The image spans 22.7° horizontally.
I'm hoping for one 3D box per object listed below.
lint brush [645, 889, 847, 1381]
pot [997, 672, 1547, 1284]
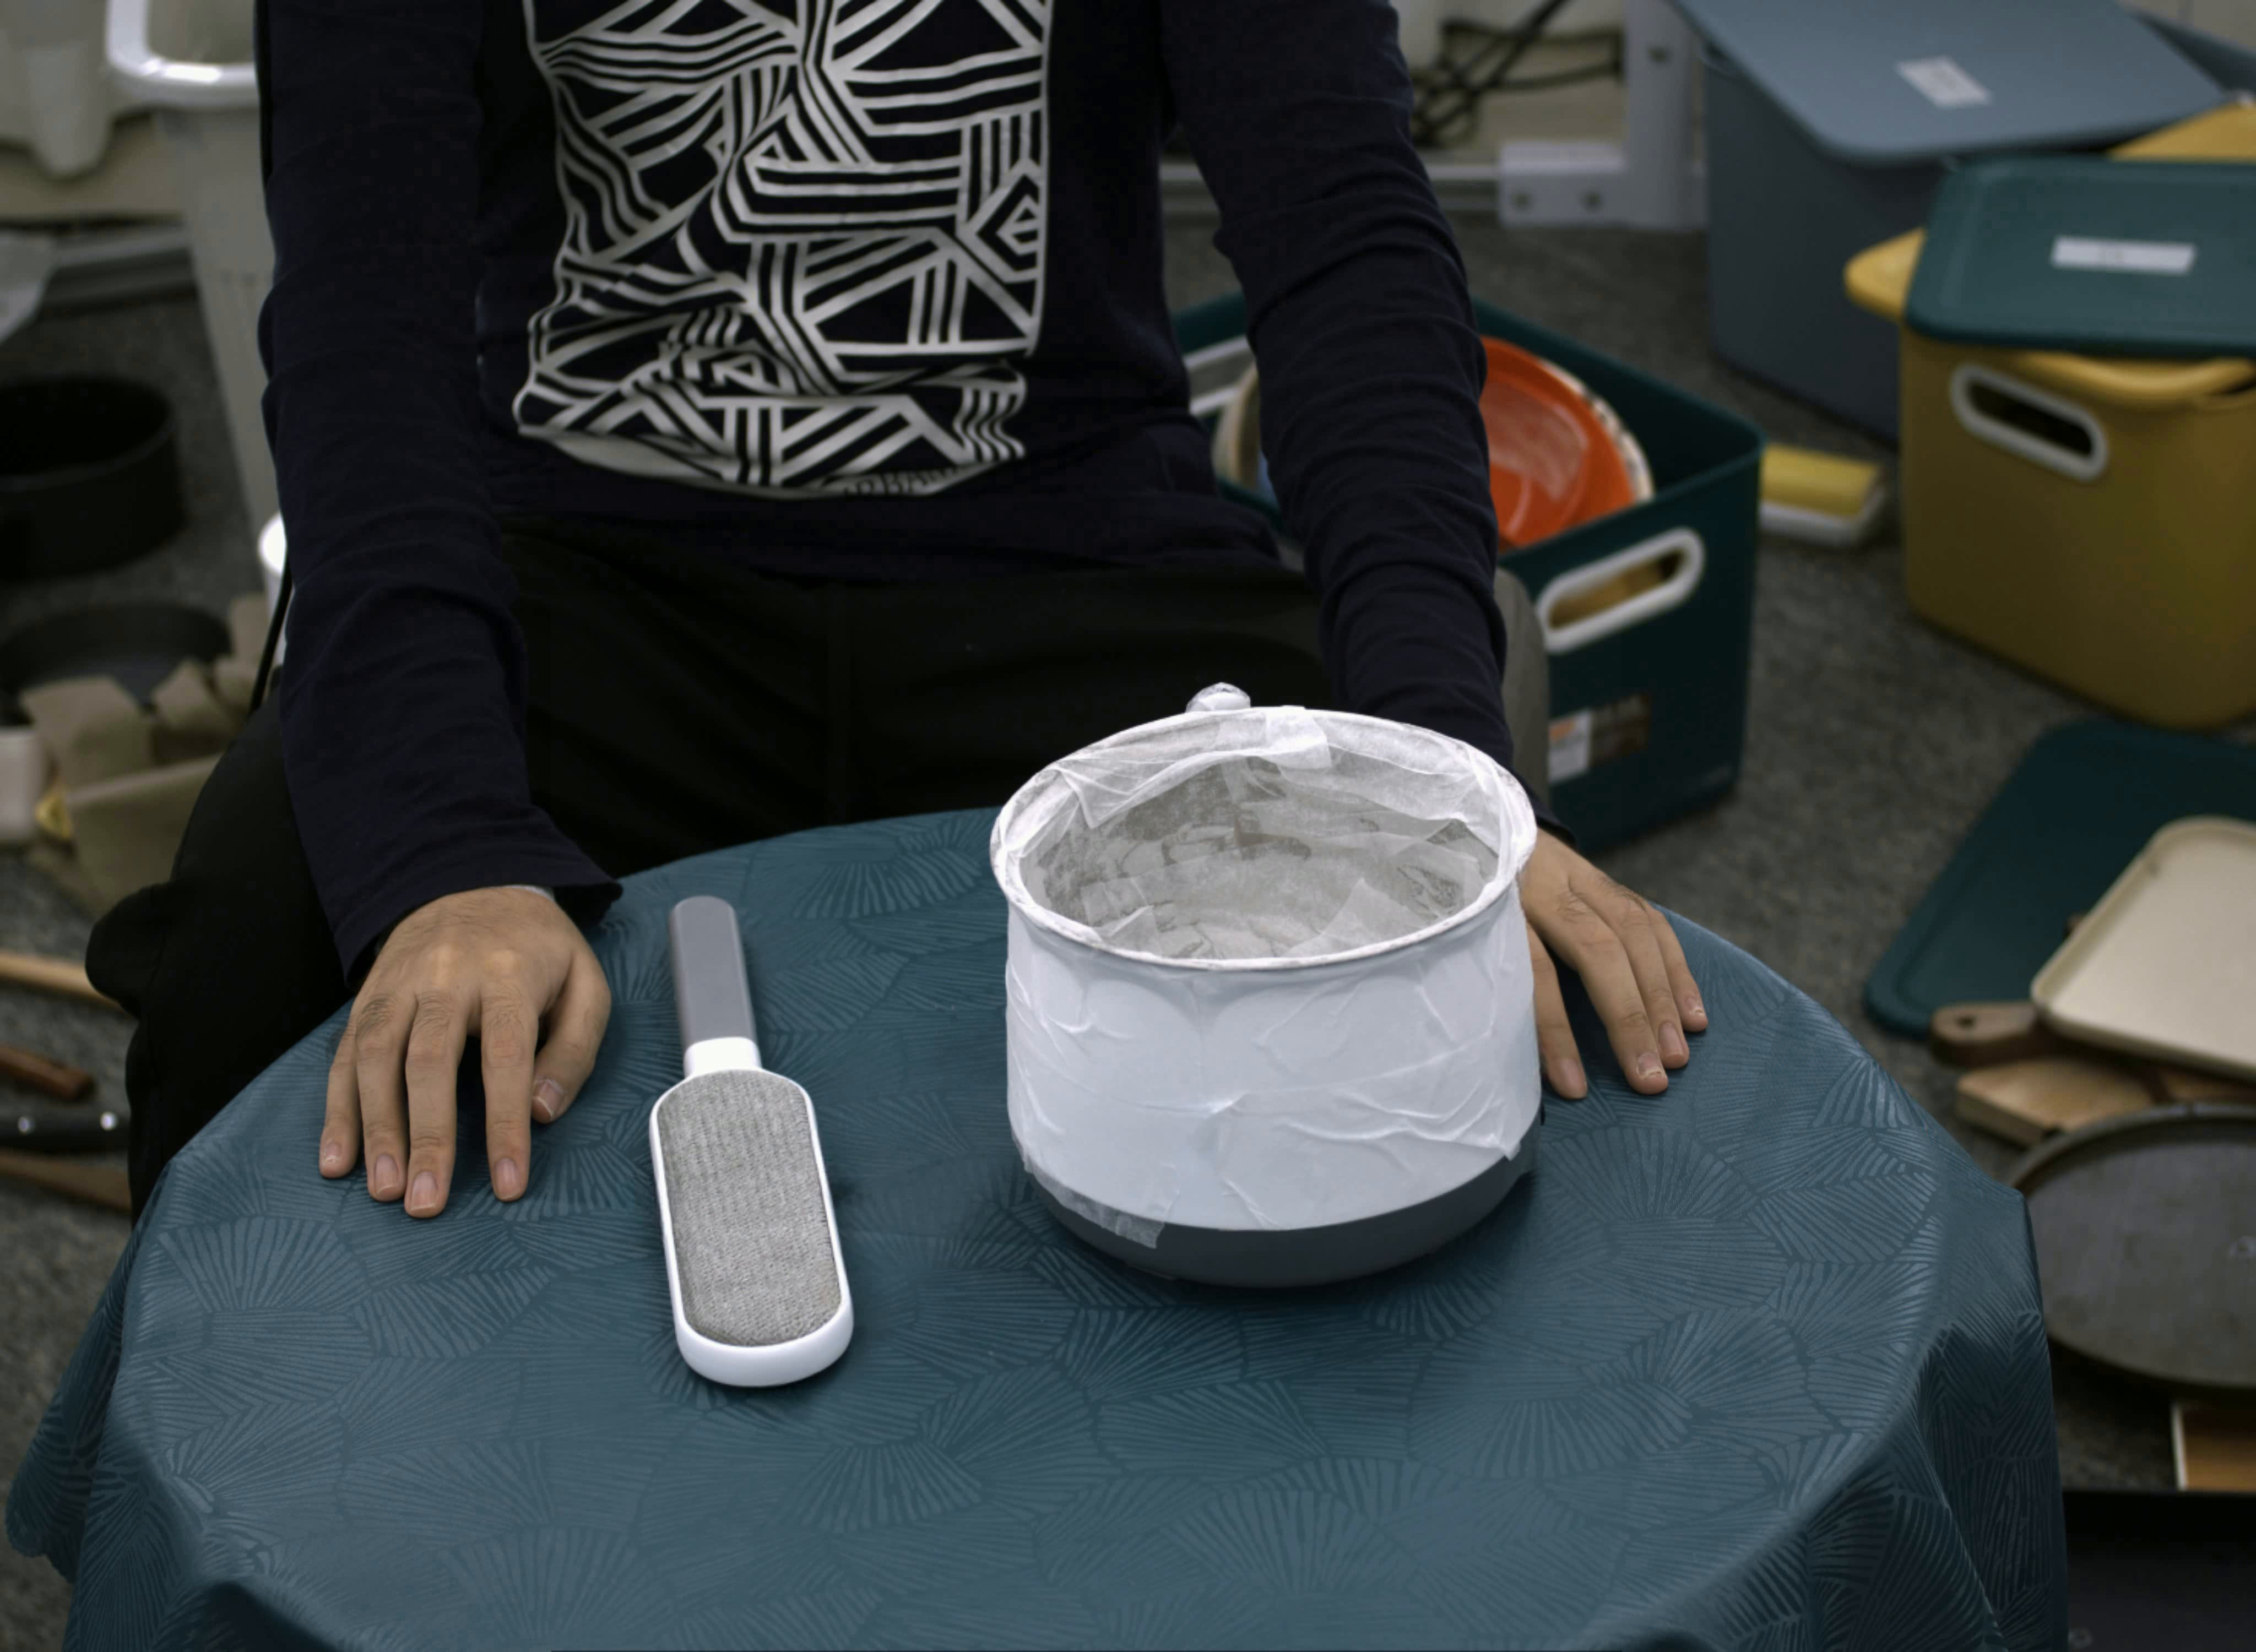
[{"bbox_3d":[-0.133,0.099,1.889,0.060,0.021,0.313,-11,28,-3],"label":"lint brush"},{"bbox_3d":[0.043,0.043,1.858,0.178,0.135,0.237,-4,27,-7],"label":"pot"}]
